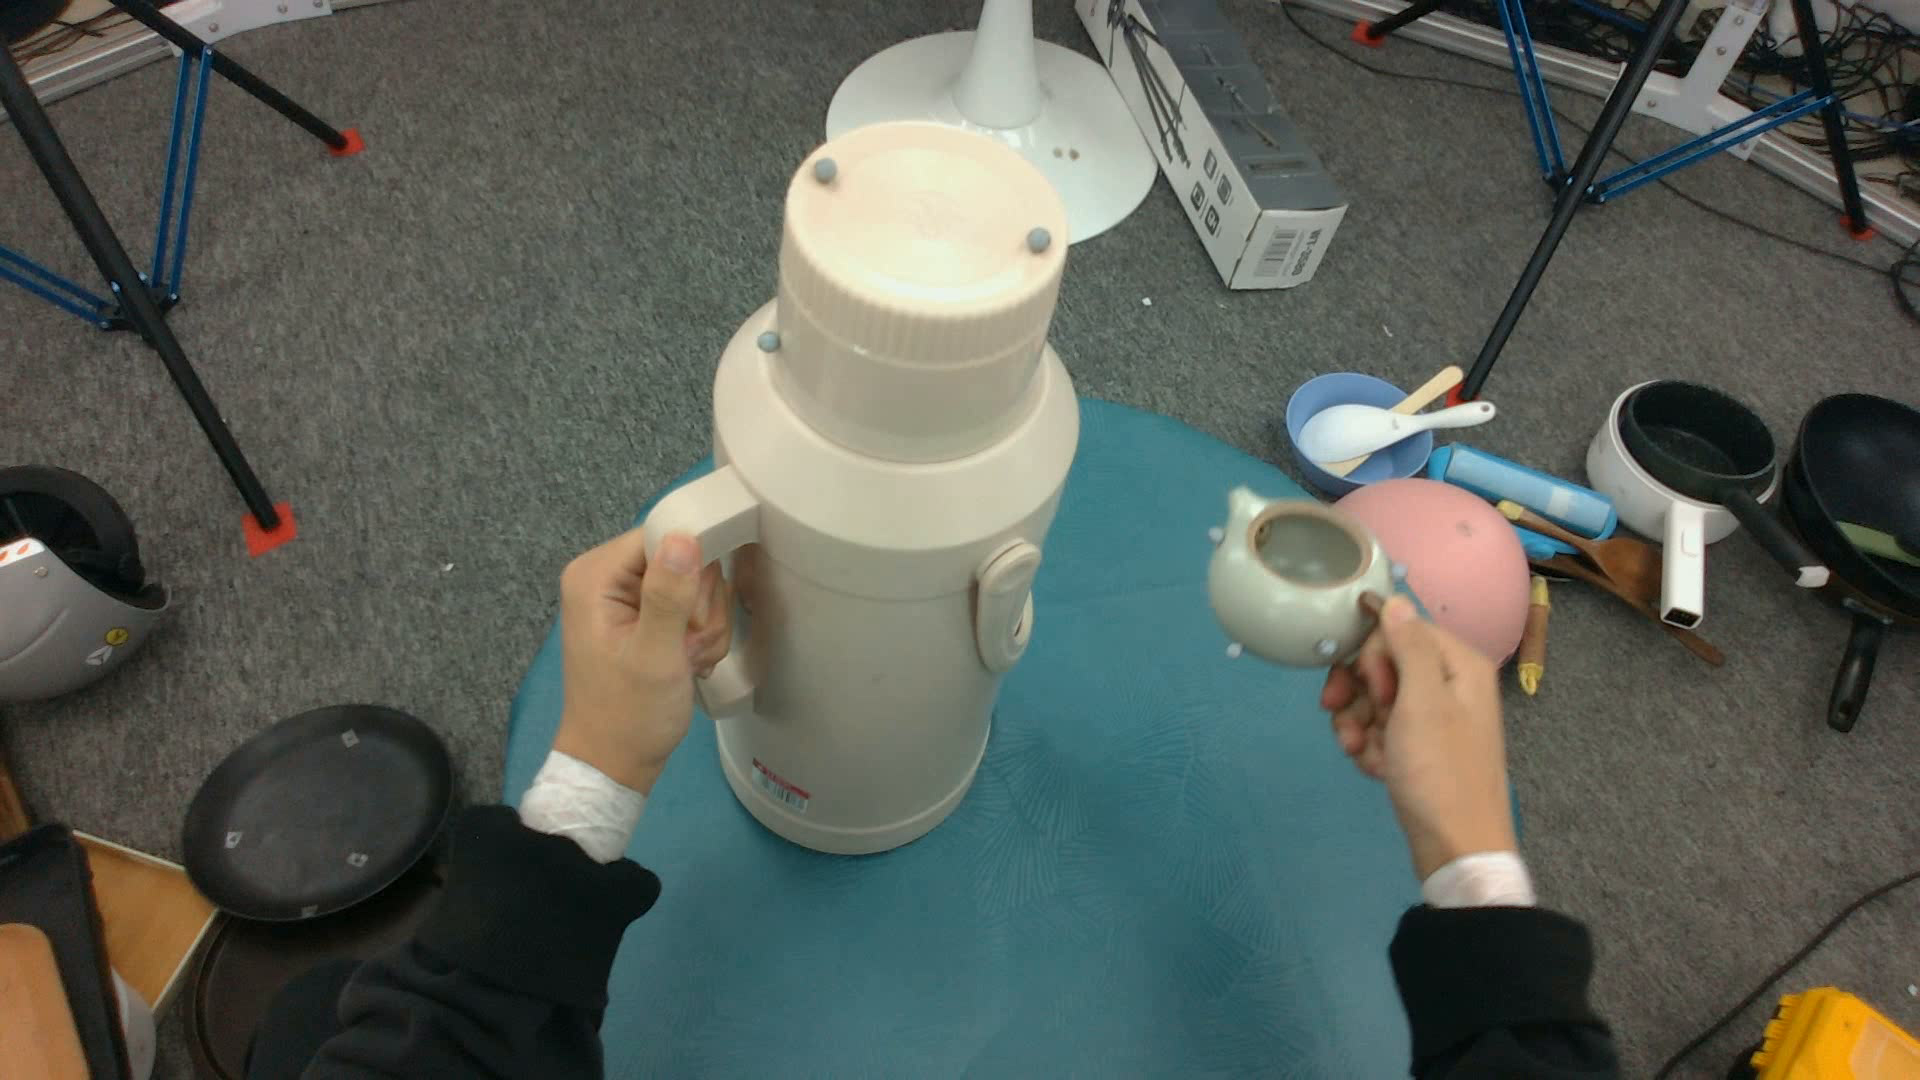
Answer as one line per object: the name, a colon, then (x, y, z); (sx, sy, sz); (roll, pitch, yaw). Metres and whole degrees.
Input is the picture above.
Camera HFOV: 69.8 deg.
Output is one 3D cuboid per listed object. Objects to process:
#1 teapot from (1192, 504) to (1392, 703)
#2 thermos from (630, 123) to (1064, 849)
teapot: (0.173, 0.035, 0.712); (0.092, 0.059, 0.128); (-21, 46, -29)
thermos: (-0.058, 0.001, 0.658); (0.208, 0.404, 0.175); (-29, 65, -27)
